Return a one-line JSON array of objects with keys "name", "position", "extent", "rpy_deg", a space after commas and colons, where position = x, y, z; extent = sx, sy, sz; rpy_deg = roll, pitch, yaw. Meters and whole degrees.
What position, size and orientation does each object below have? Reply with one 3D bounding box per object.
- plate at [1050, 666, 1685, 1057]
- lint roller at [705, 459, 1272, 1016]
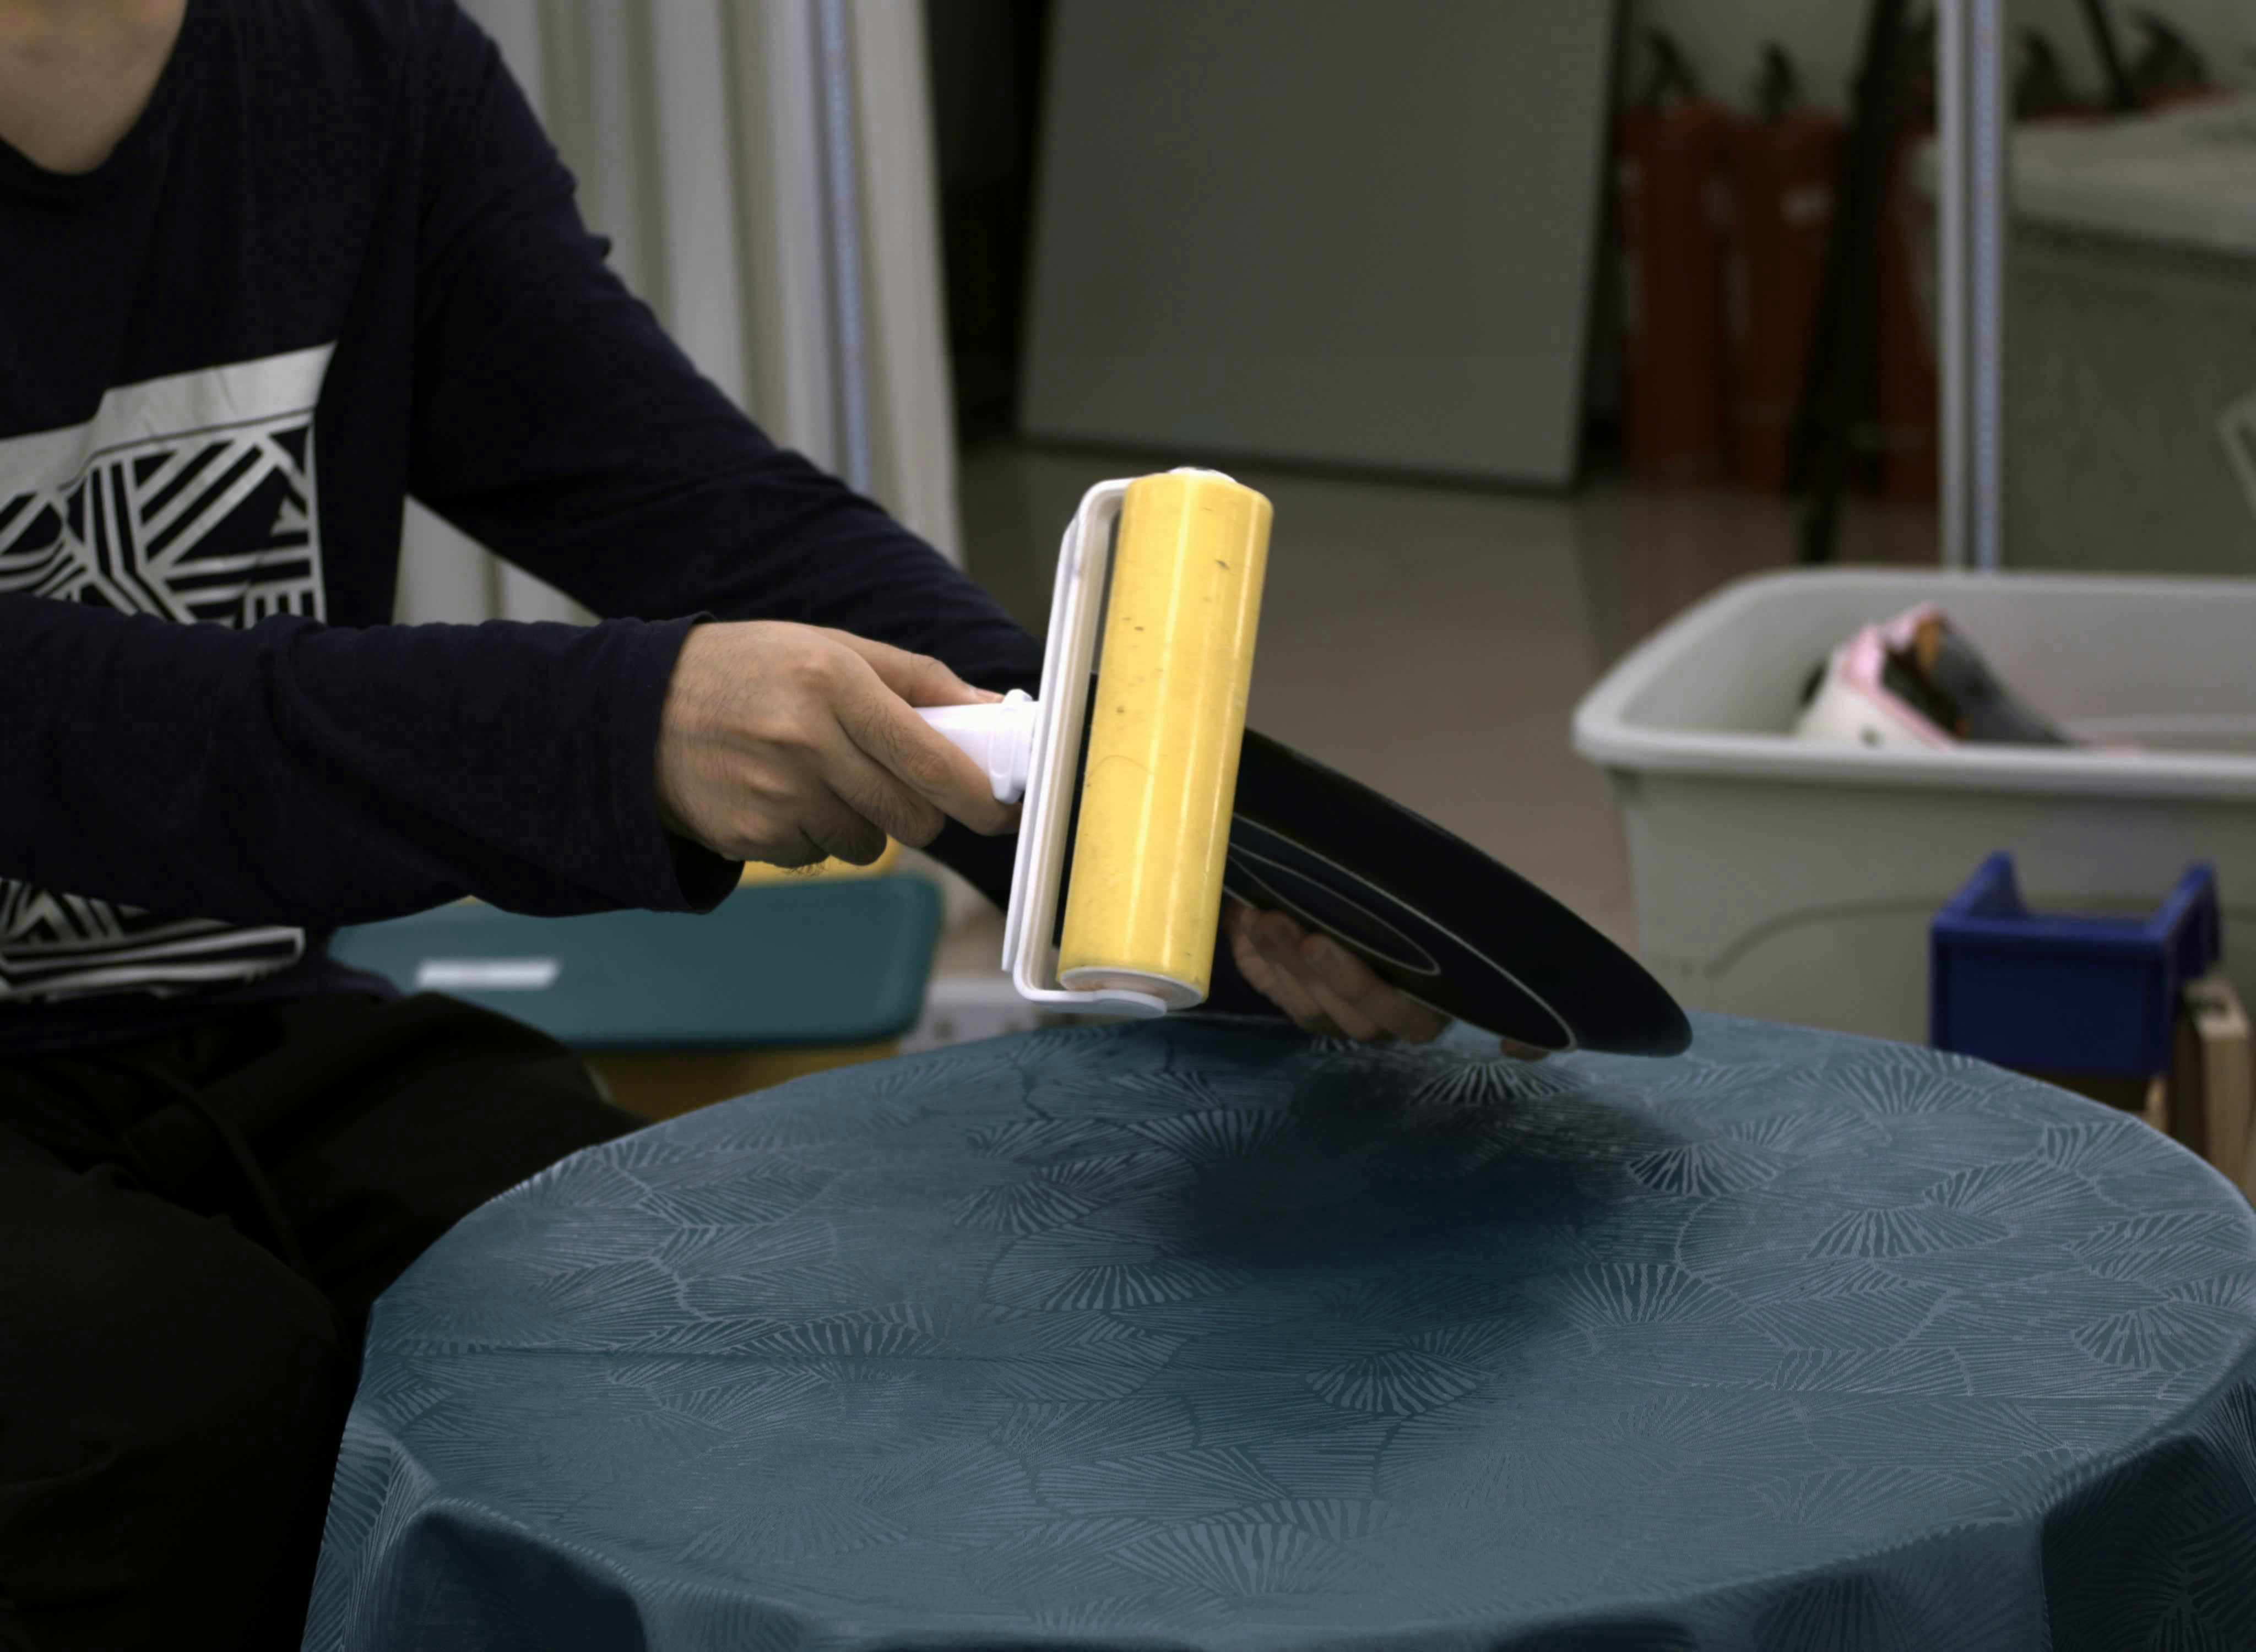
[{"name": "plate", "position": [0.073, 0.020, 1.774], "extent": [0.243, 0.023, 0.244], "rpy_deg": [30, -9, 4]}, {"name": "lint roller", "position": [-0.053, -0.026, 1.686], "extent": [0.192, 0.176, 0.051], "rpy_deg": [-1, -20, 23]}]
